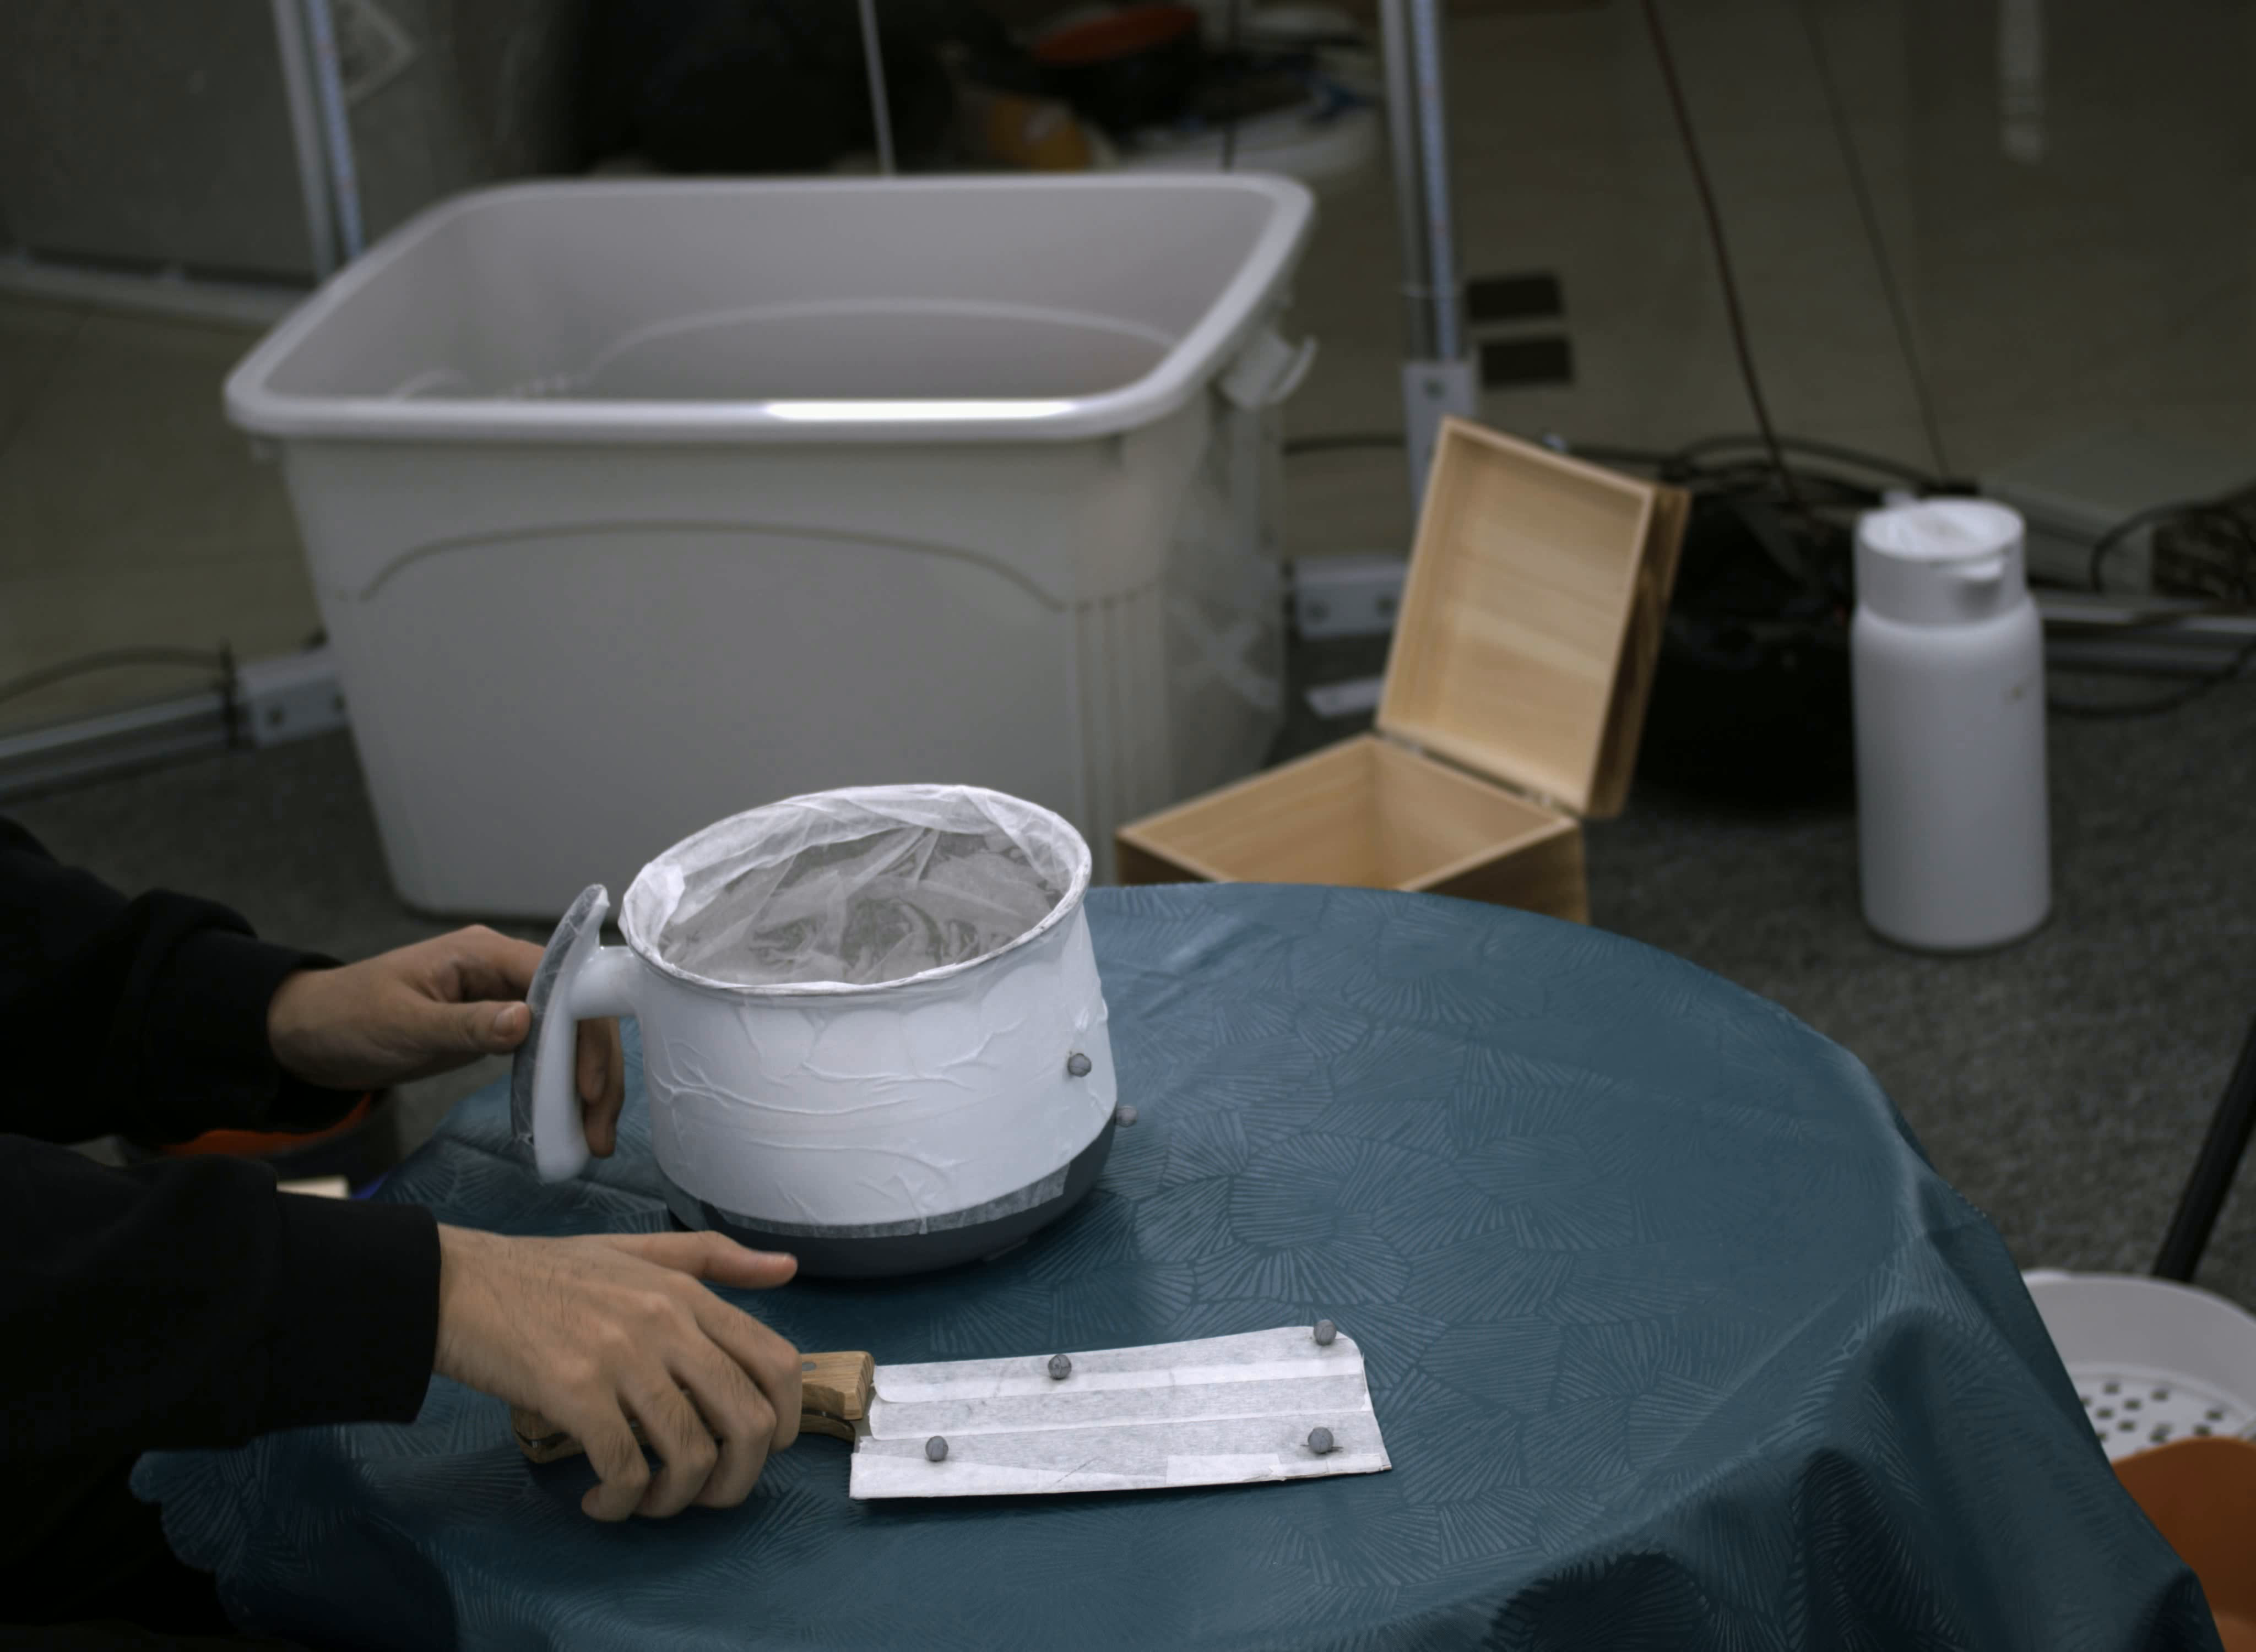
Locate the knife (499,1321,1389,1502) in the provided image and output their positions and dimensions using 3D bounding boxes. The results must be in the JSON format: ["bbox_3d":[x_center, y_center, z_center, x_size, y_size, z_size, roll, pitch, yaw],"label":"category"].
[{"bbox_3d":[-0.065,0.207,1.997,0.315,0.022,0.112,-2,25,3],"label":"knife"}]

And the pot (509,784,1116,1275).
[{"bbox_3d":[-0.122,0.079,2.137,0.233,0.139,0.176,-2,25,6],"label":"pot"}]
